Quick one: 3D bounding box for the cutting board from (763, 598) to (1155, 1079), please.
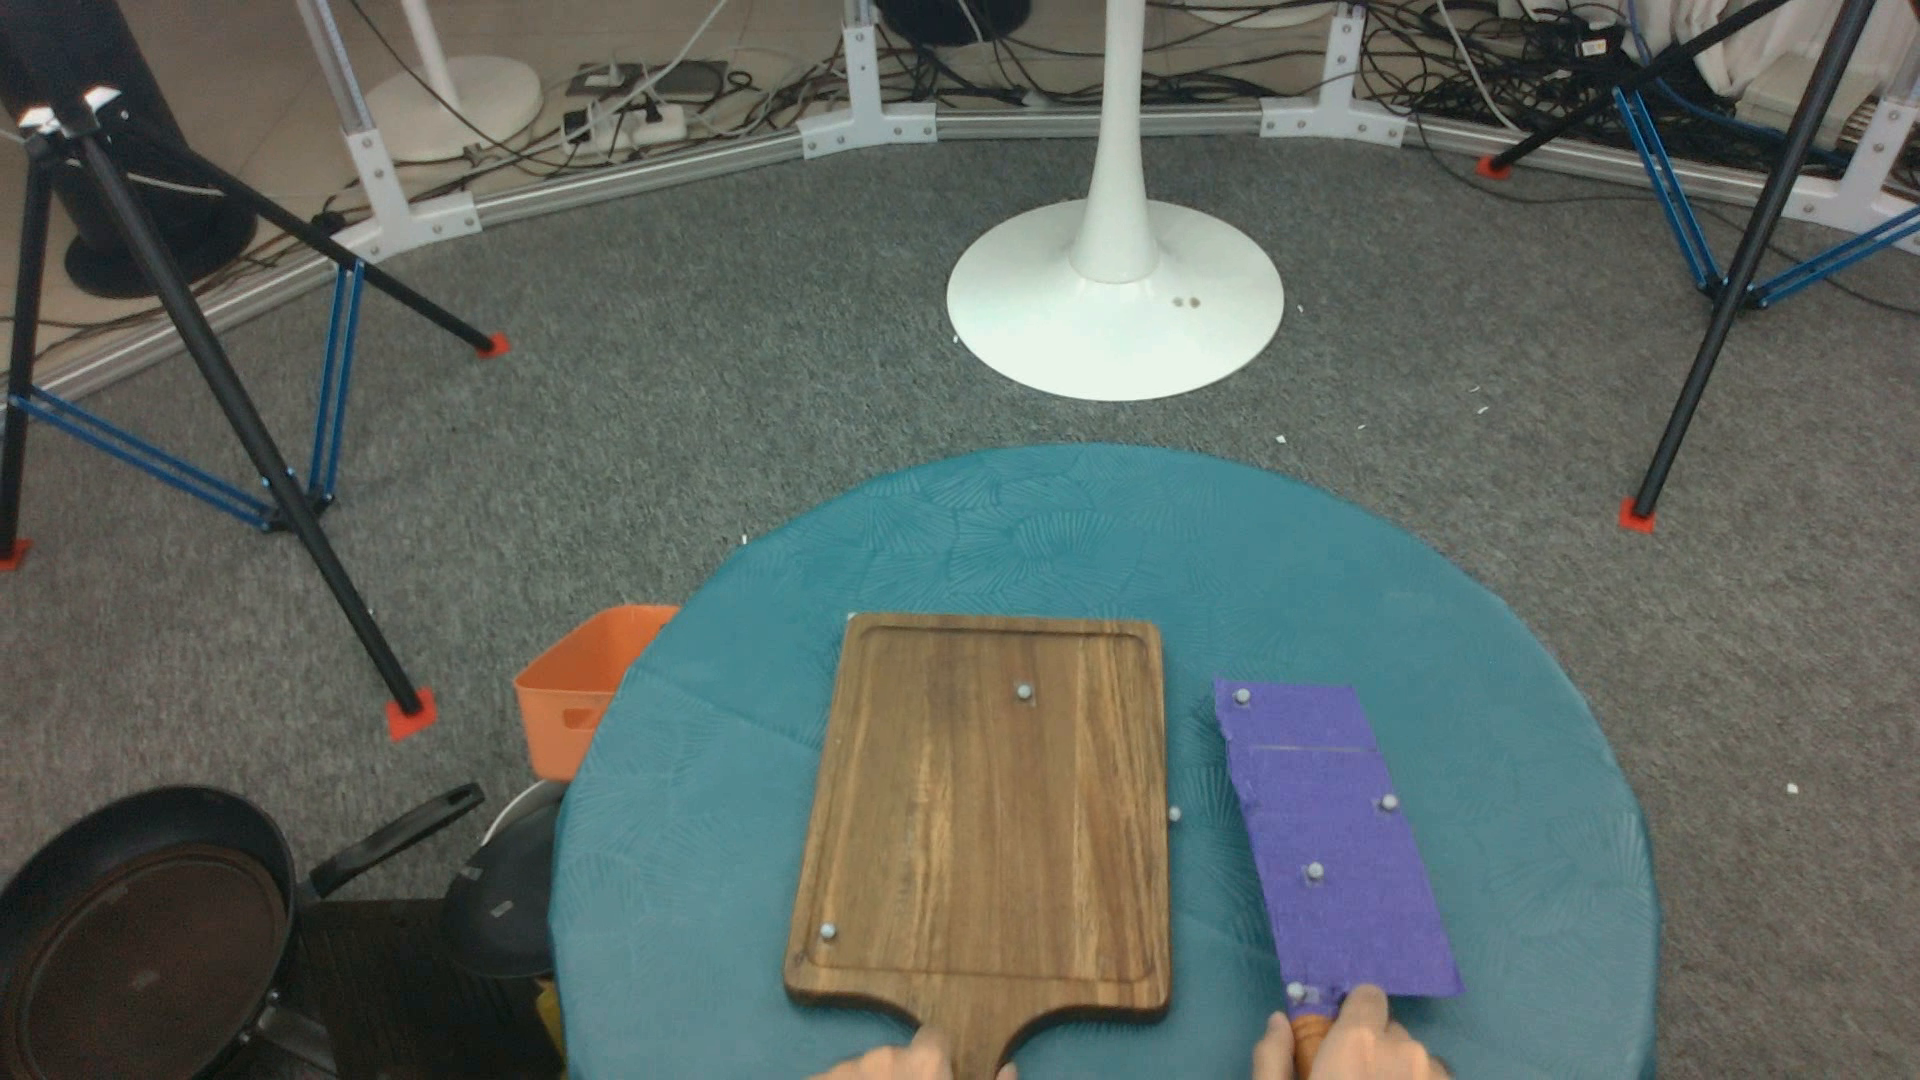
[{"bbox_3d":[0.002,0.171,0.738,0.201,0.023,0.354,2,47,4],"label":"cutting board"}]

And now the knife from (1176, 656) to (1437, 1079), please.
[{"bbox_3d":[0.187,0.174,0.702,0.104,0.032,0.316,2,42,-6],"label":"knife"}]
